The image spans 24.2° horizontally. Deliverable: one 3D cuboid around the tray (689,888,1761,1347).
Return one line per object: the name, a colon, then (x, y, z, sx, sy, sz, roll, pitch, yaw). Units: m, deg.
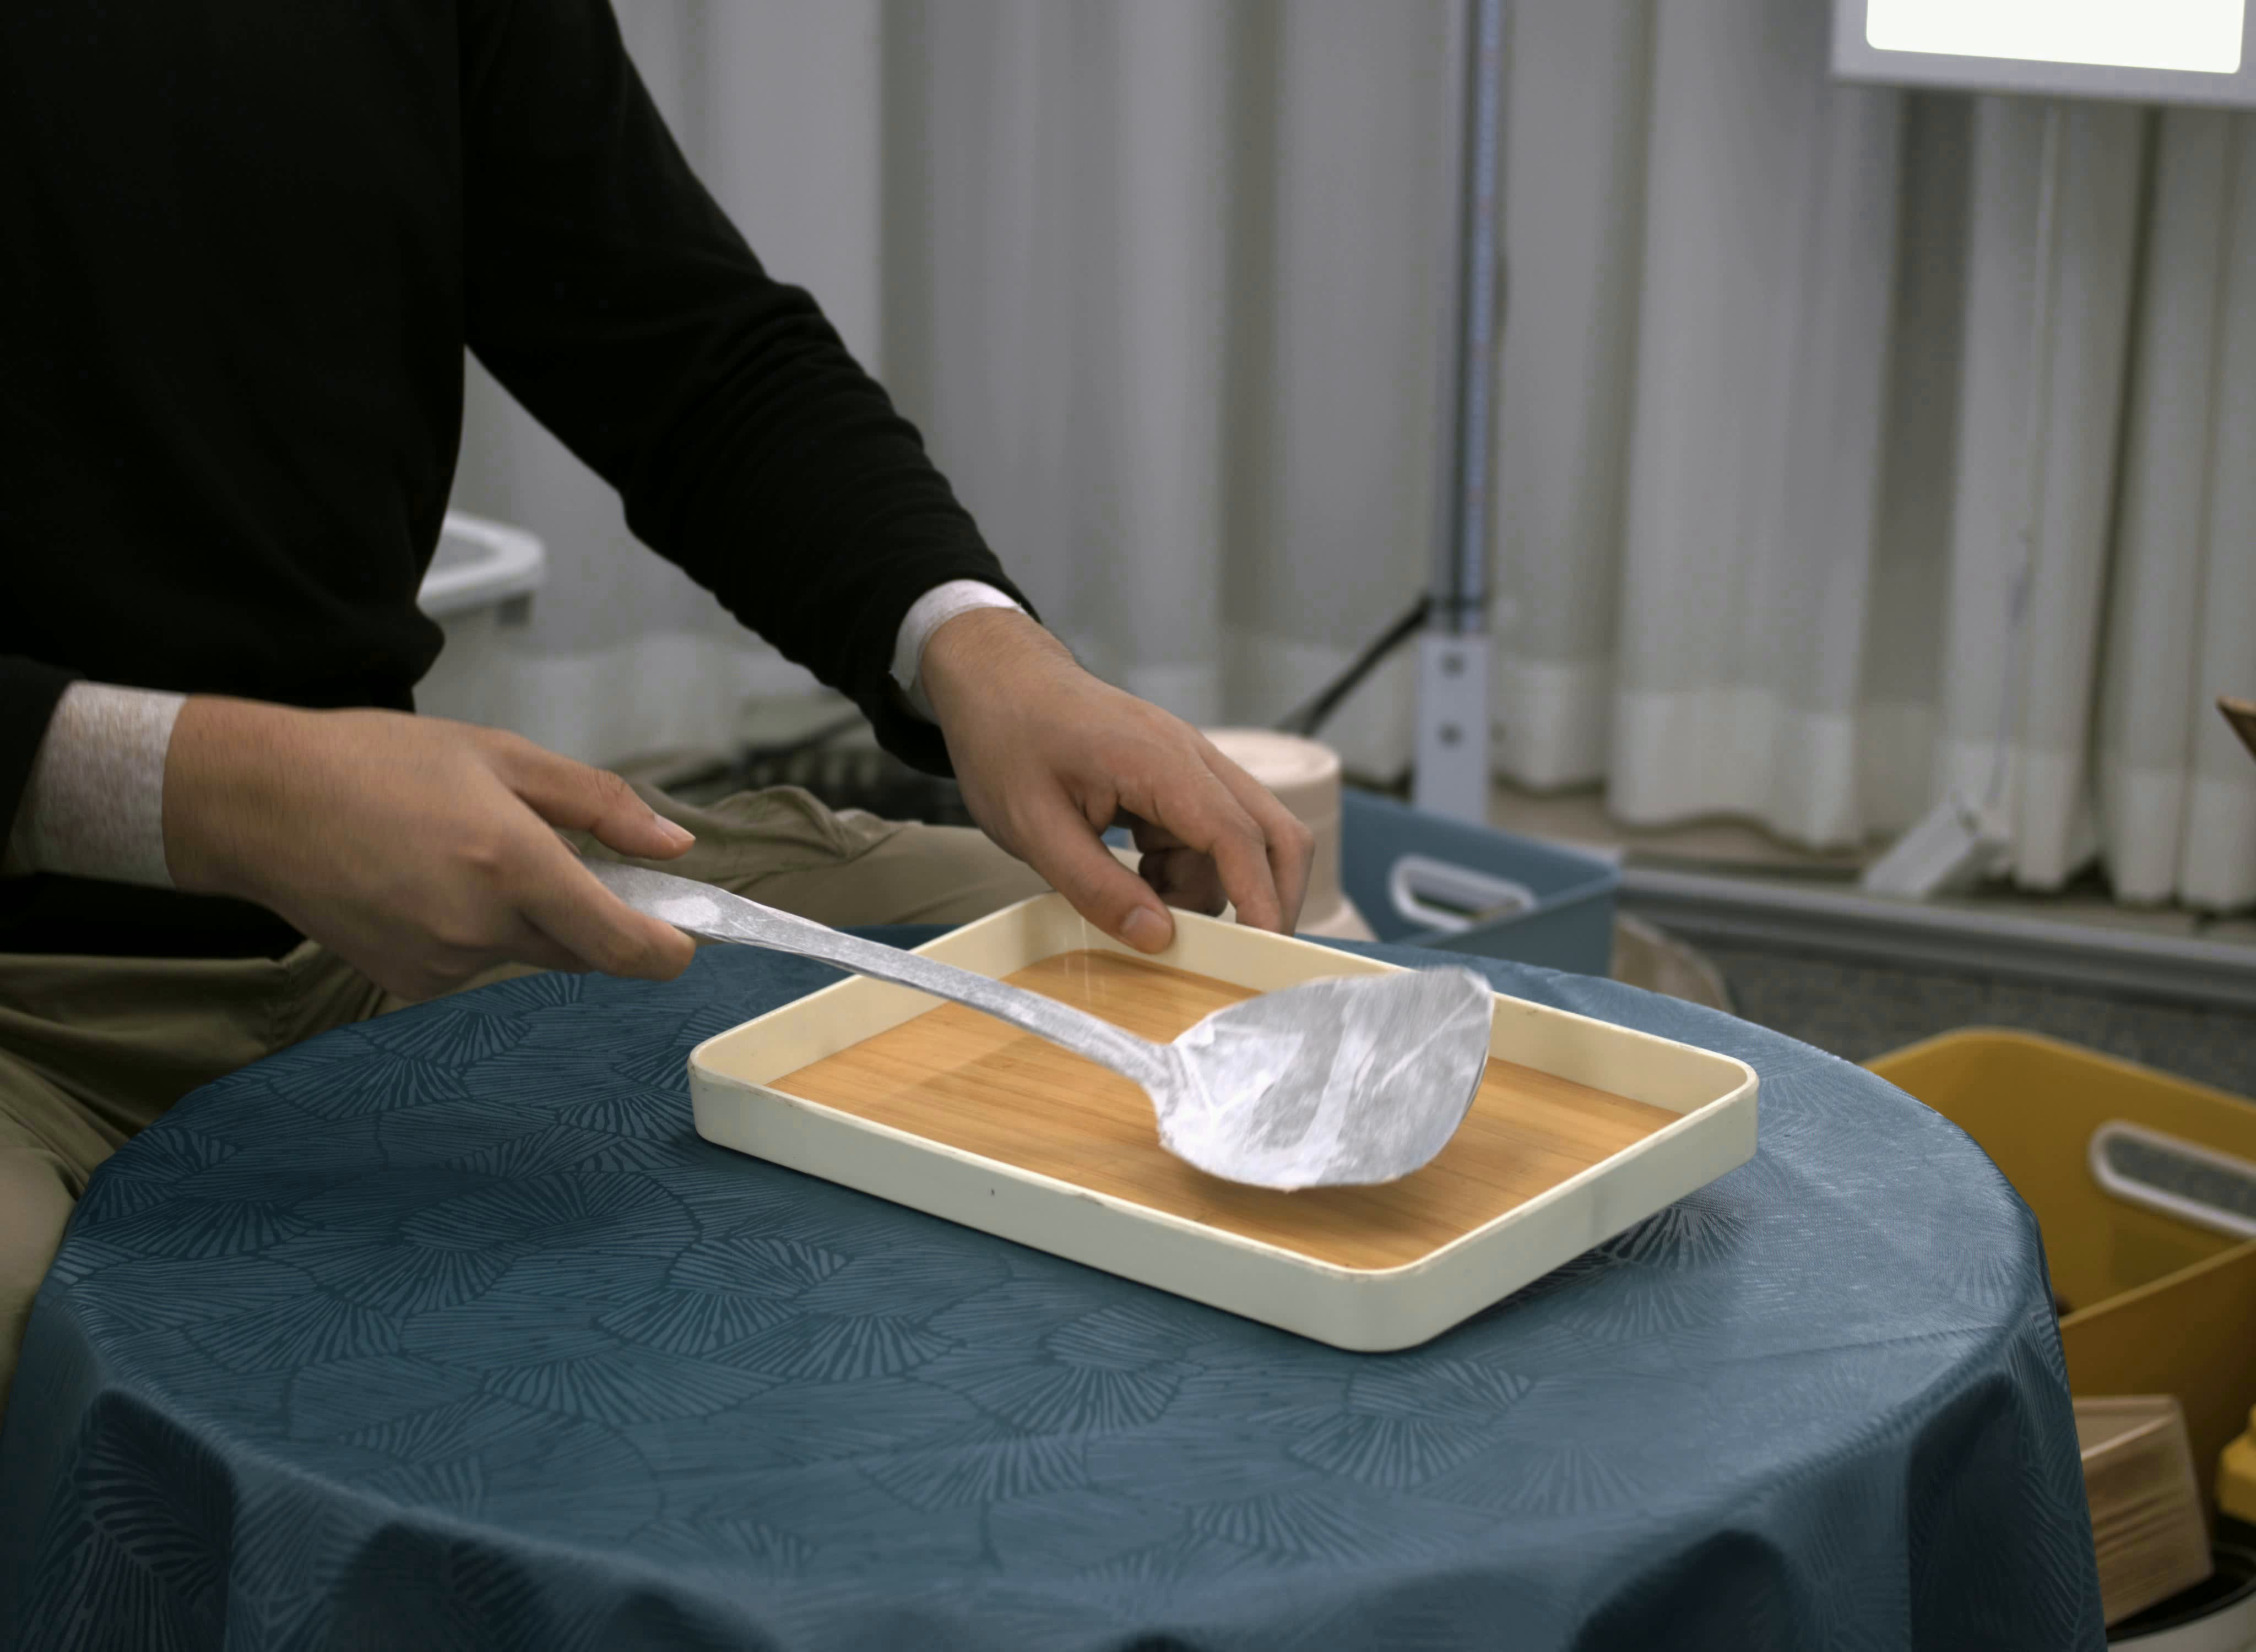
tray: (0.027, 0.085, 1.634, 0.296, 0.027, 0.192, 14, 27, 41)

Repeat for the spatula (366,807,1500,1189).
spatula: (-0.067, 0.040, 1.606, 0.363, 0.045, 0.098, 17, 44, 6)
